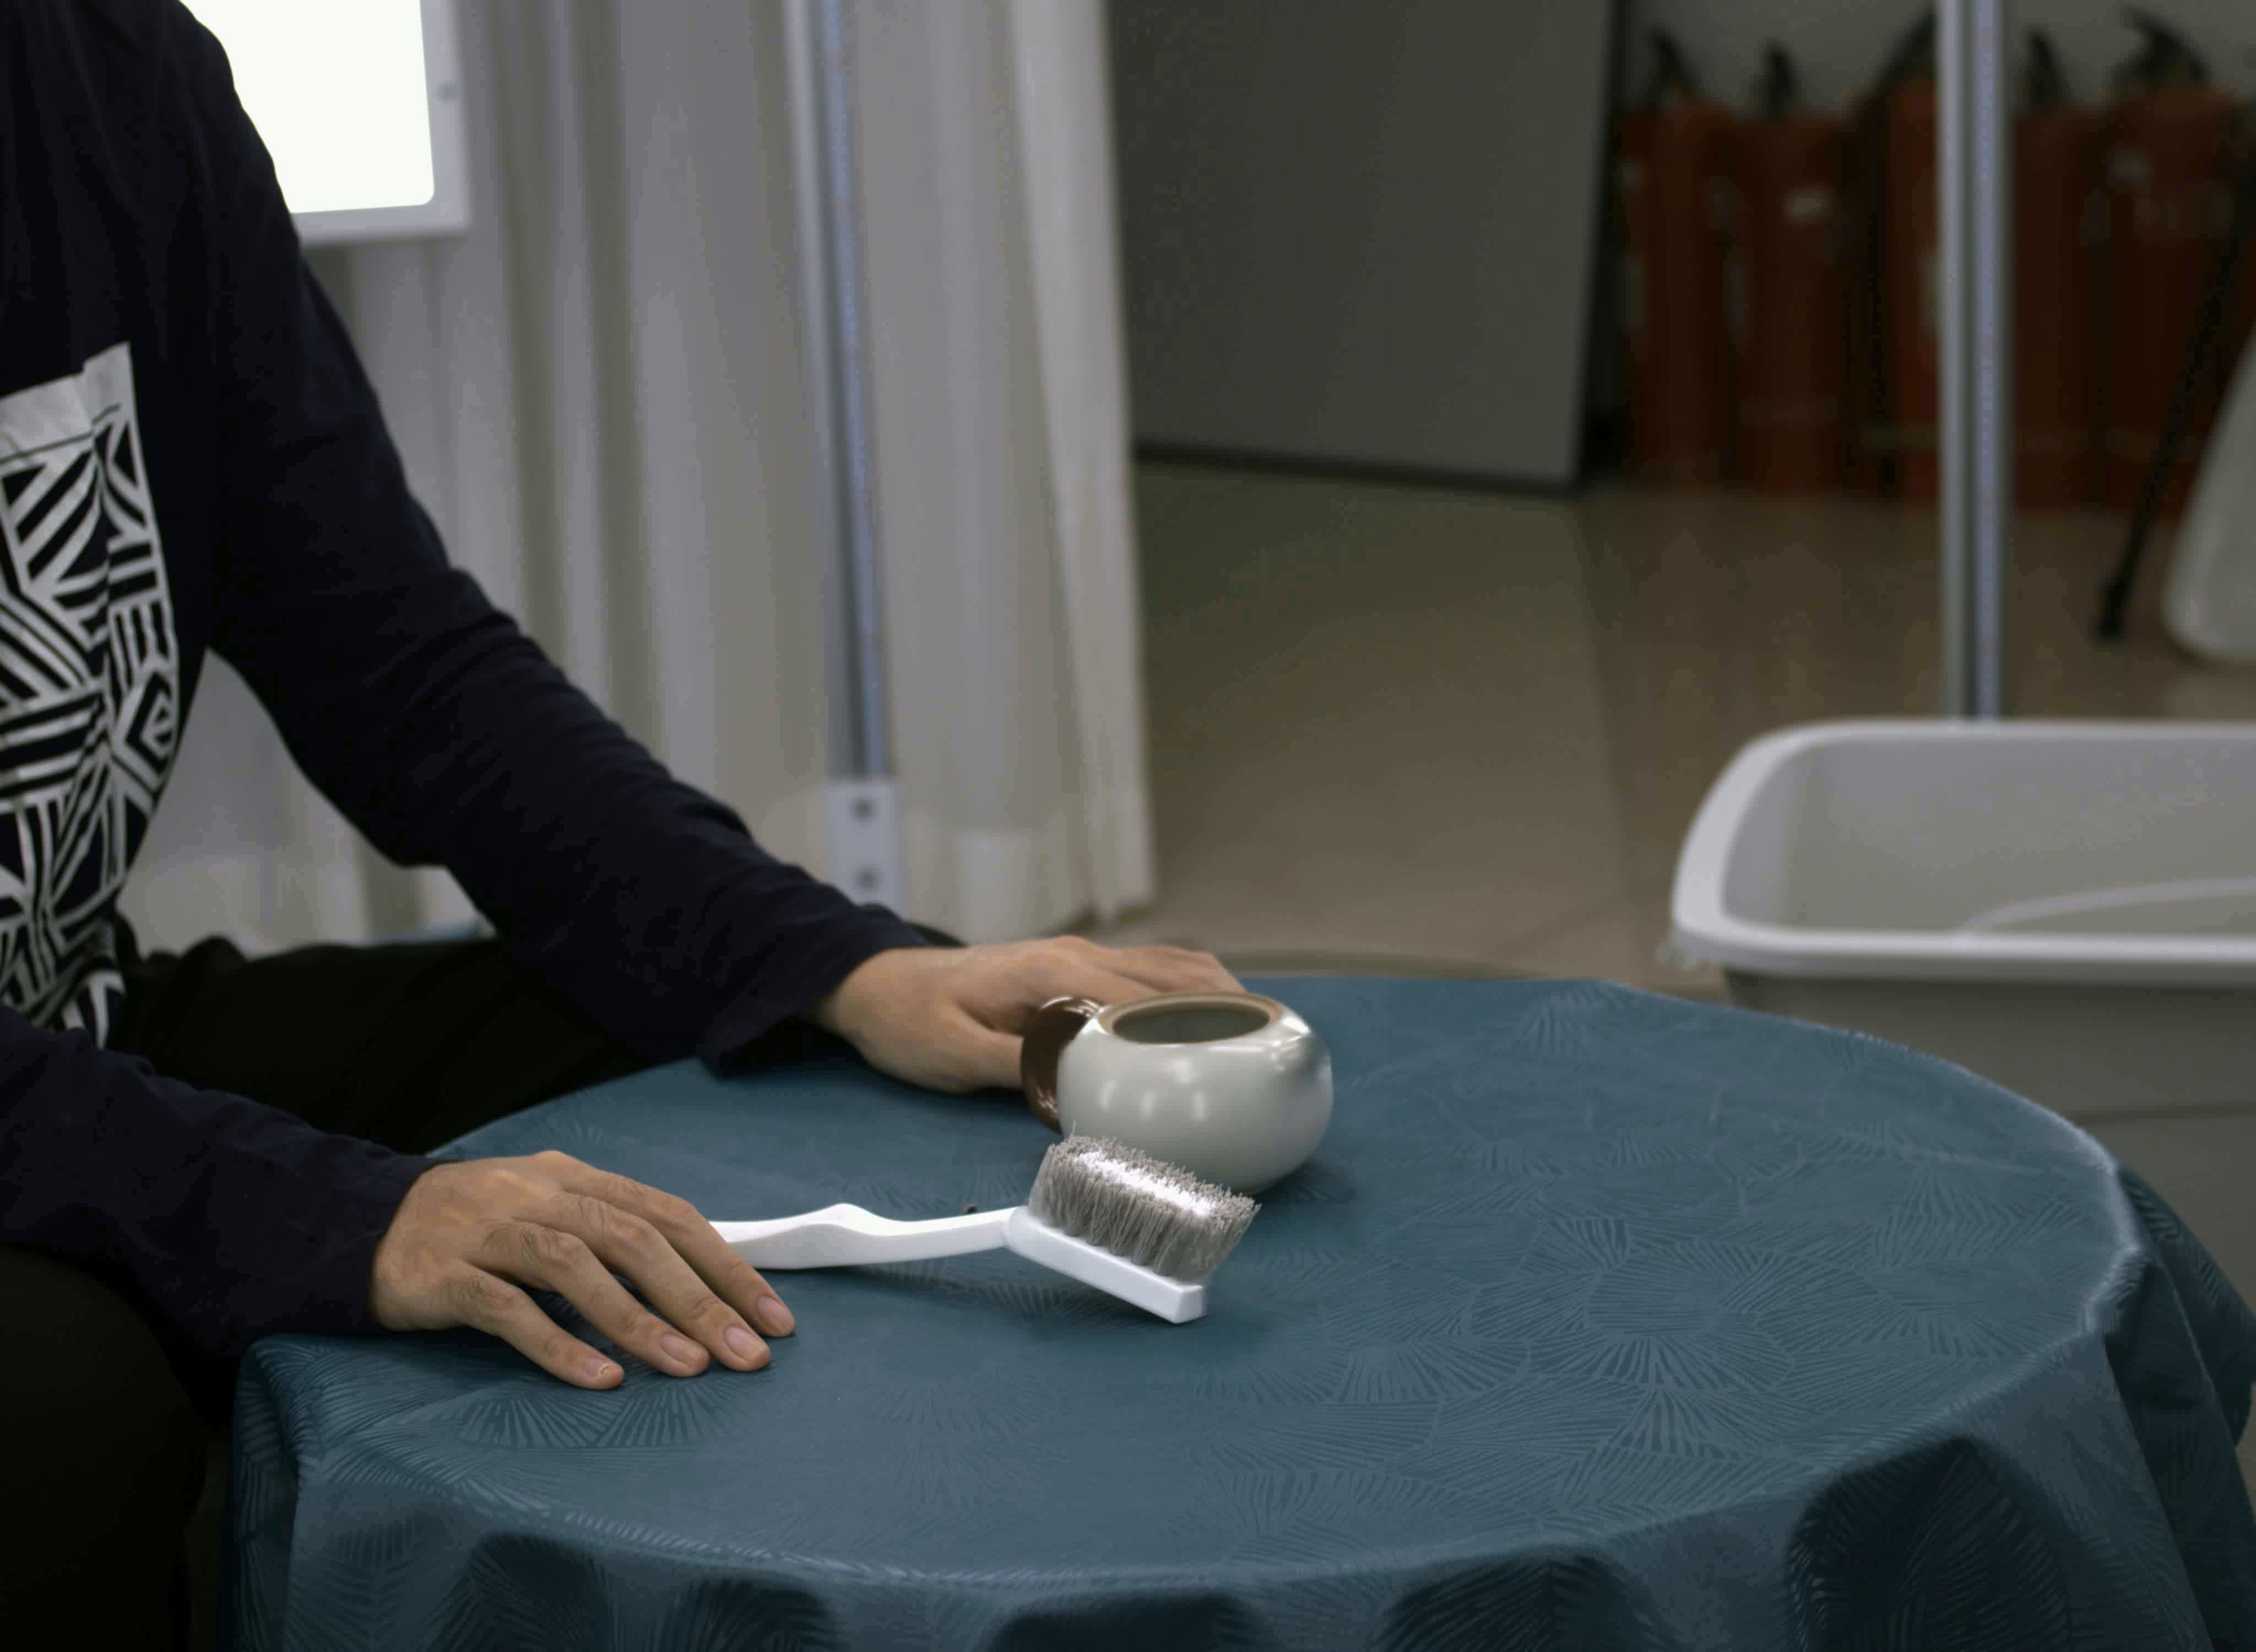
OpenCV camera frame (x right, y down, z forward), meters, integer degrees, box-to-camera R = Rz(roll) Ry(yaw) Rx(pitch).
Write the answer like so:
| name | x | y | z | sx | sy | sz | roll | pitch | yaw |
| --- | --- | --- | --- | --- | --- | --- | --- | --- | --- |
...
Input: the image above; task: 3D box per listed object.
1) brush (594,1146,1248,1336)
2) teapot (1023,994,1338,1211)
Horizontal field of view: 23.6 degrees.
| name | x | y | z | sx | sy | sz | roll | pitch | yaw |
| --- | --- | --- | --- | --- | --- | --- | --- | --- | --- |
| brush | -0.071 | 0.120 | 1.701 | 0.245 | 0.051 | 0.034 | 5 | 20 | 33 |
| teapot | 0.016 | 0.090 | 1.781 | 0.129 | 0.060 | 0.090 | 7 | 19 | 37 |
